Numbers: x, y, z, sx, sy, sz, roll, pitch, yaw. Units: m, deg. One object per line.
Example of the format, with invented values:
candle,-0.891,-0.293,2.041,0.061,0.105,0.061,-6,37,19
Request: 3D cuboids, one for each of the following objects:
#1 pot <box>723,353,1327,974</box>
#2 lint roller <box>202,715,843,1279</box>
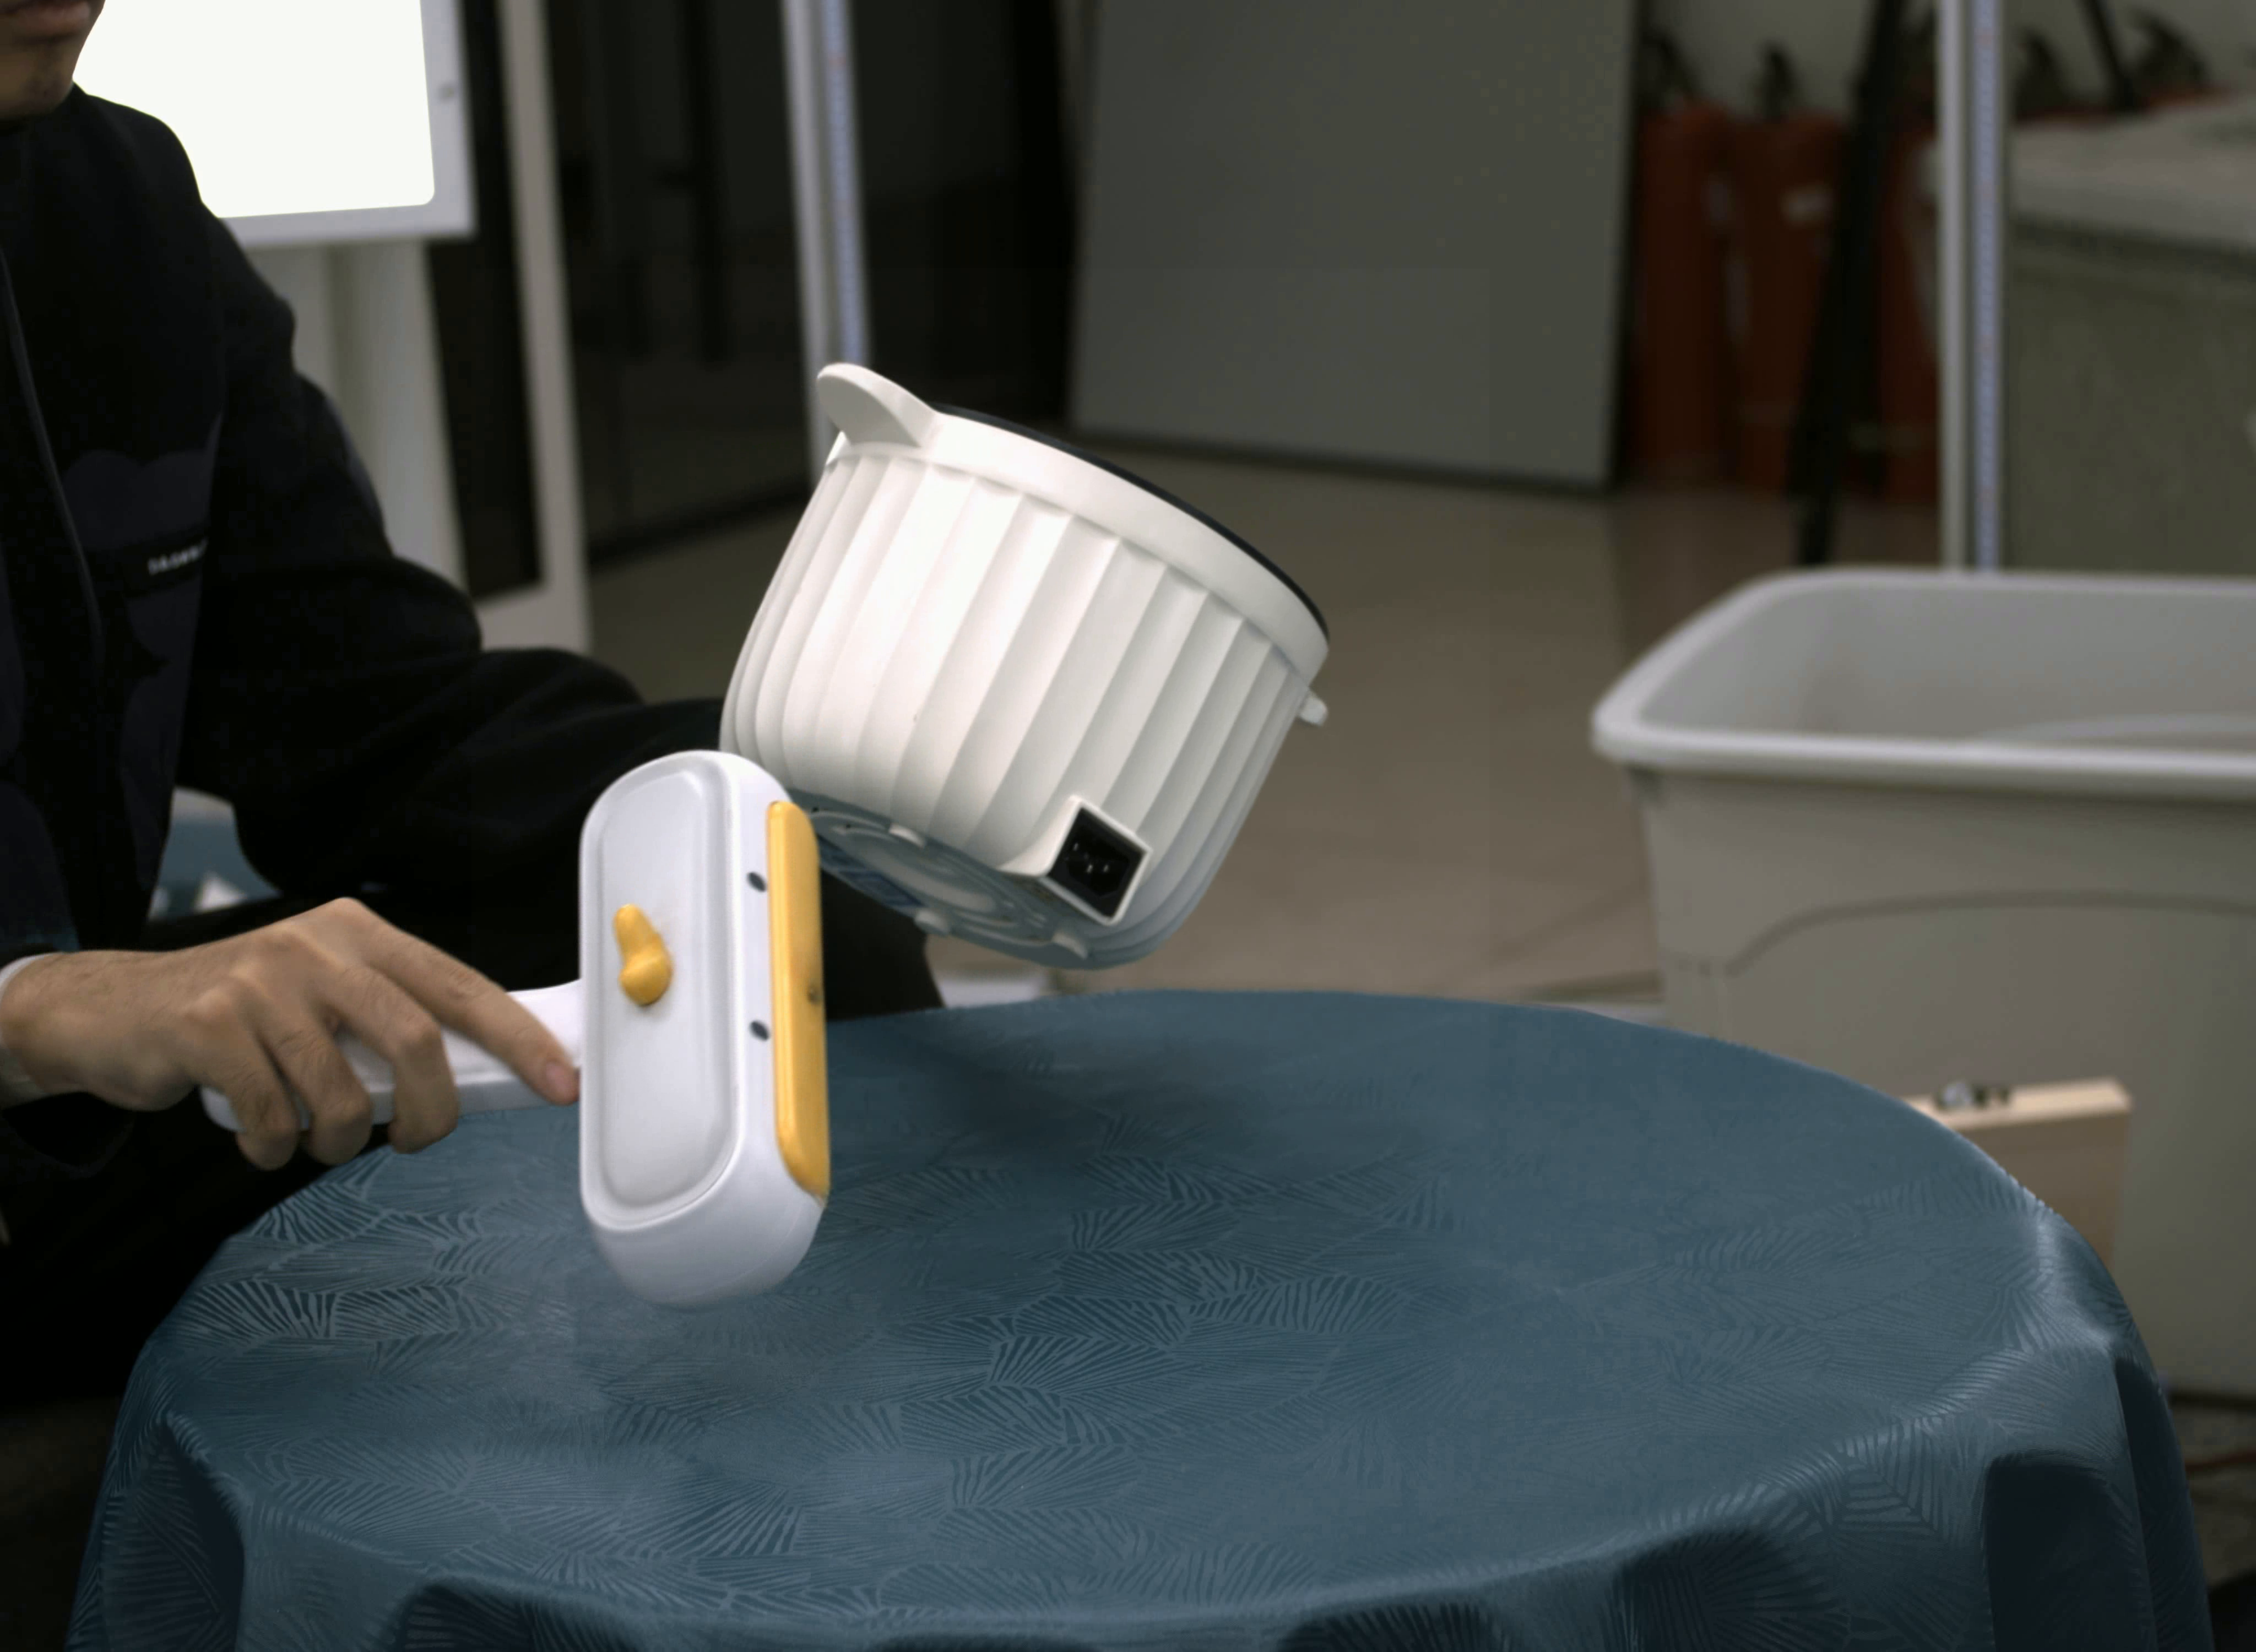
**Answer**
pot,-0.045,-0.041,1.809,0.237,0.143,0.192,37,-16,-34
lint roller,-0.185,0.063,1.649,0.191,0.073,0.195,-18,52,10
